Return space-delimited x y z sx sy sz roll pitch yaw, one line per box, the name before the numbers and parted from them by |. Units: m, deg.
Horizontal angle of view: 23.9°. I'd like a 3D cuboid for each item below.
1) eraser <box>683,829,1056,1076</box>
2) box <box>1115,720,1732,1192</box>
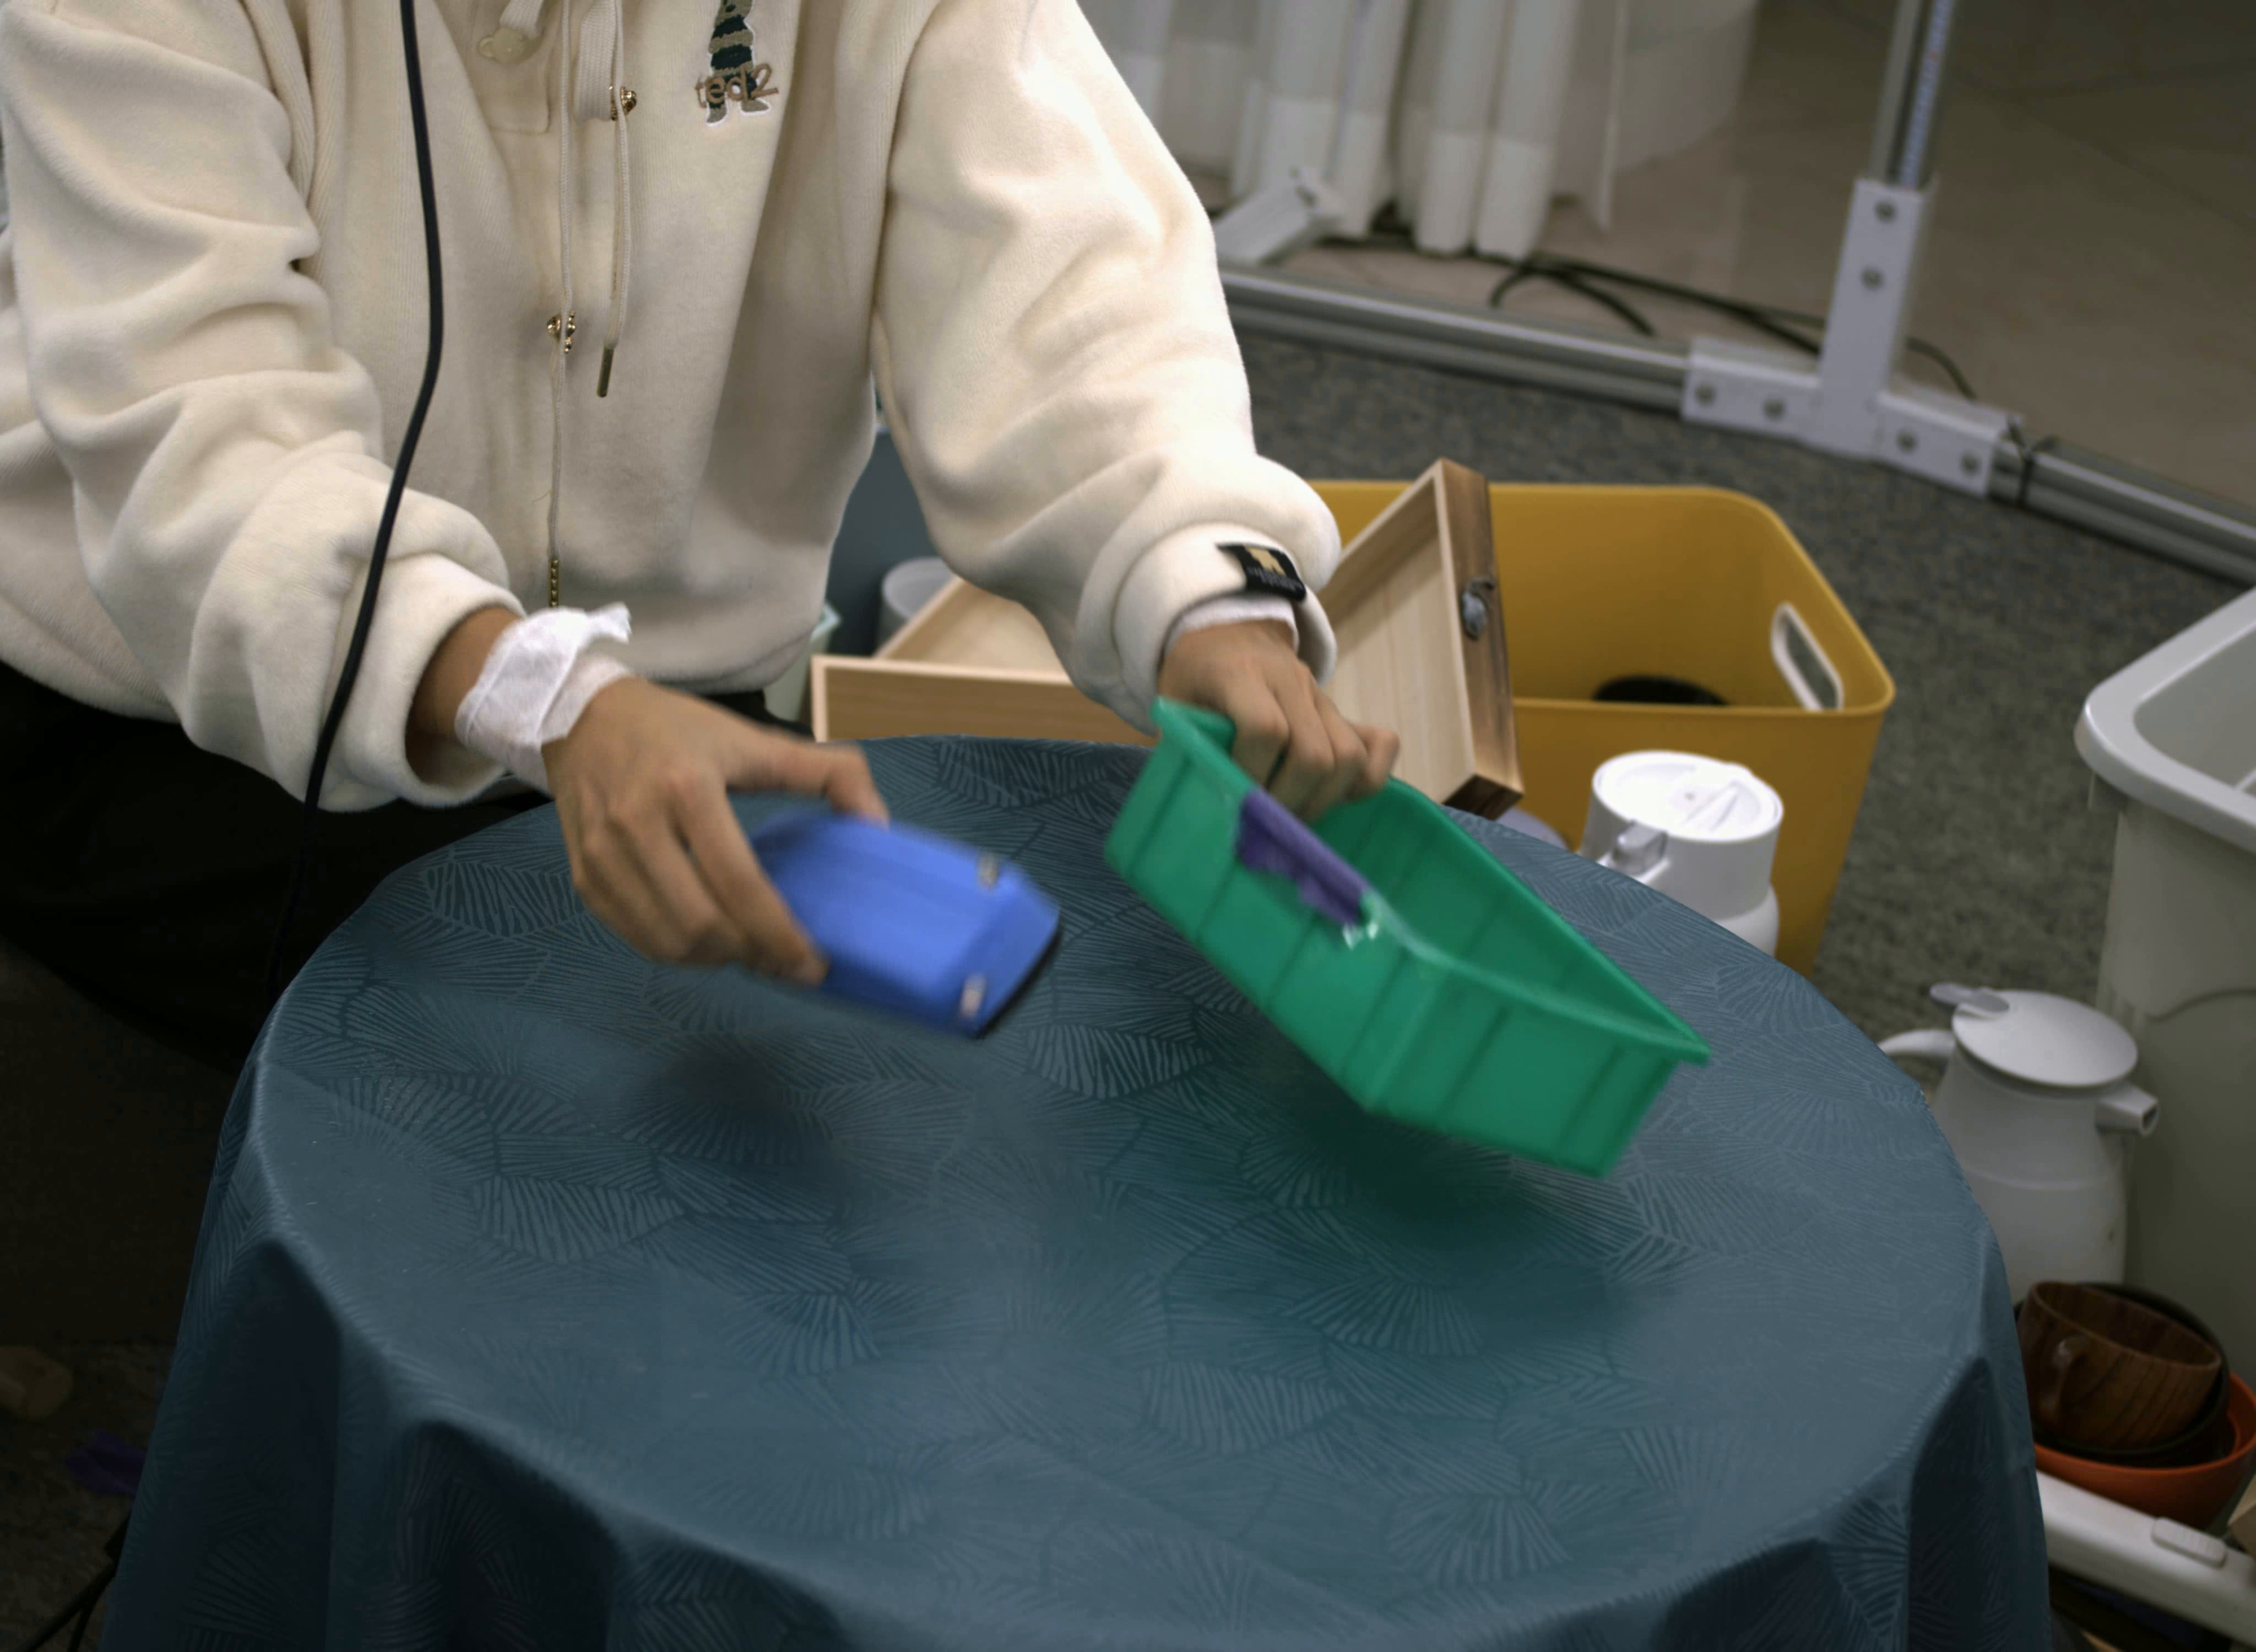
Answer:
eraser | -0.092 0.038 1.789 0.054 0.047 0.163 -49 32 -17
box | 0.096 0.047 1.839 0.137 0.065 0.212 14 20 -40
